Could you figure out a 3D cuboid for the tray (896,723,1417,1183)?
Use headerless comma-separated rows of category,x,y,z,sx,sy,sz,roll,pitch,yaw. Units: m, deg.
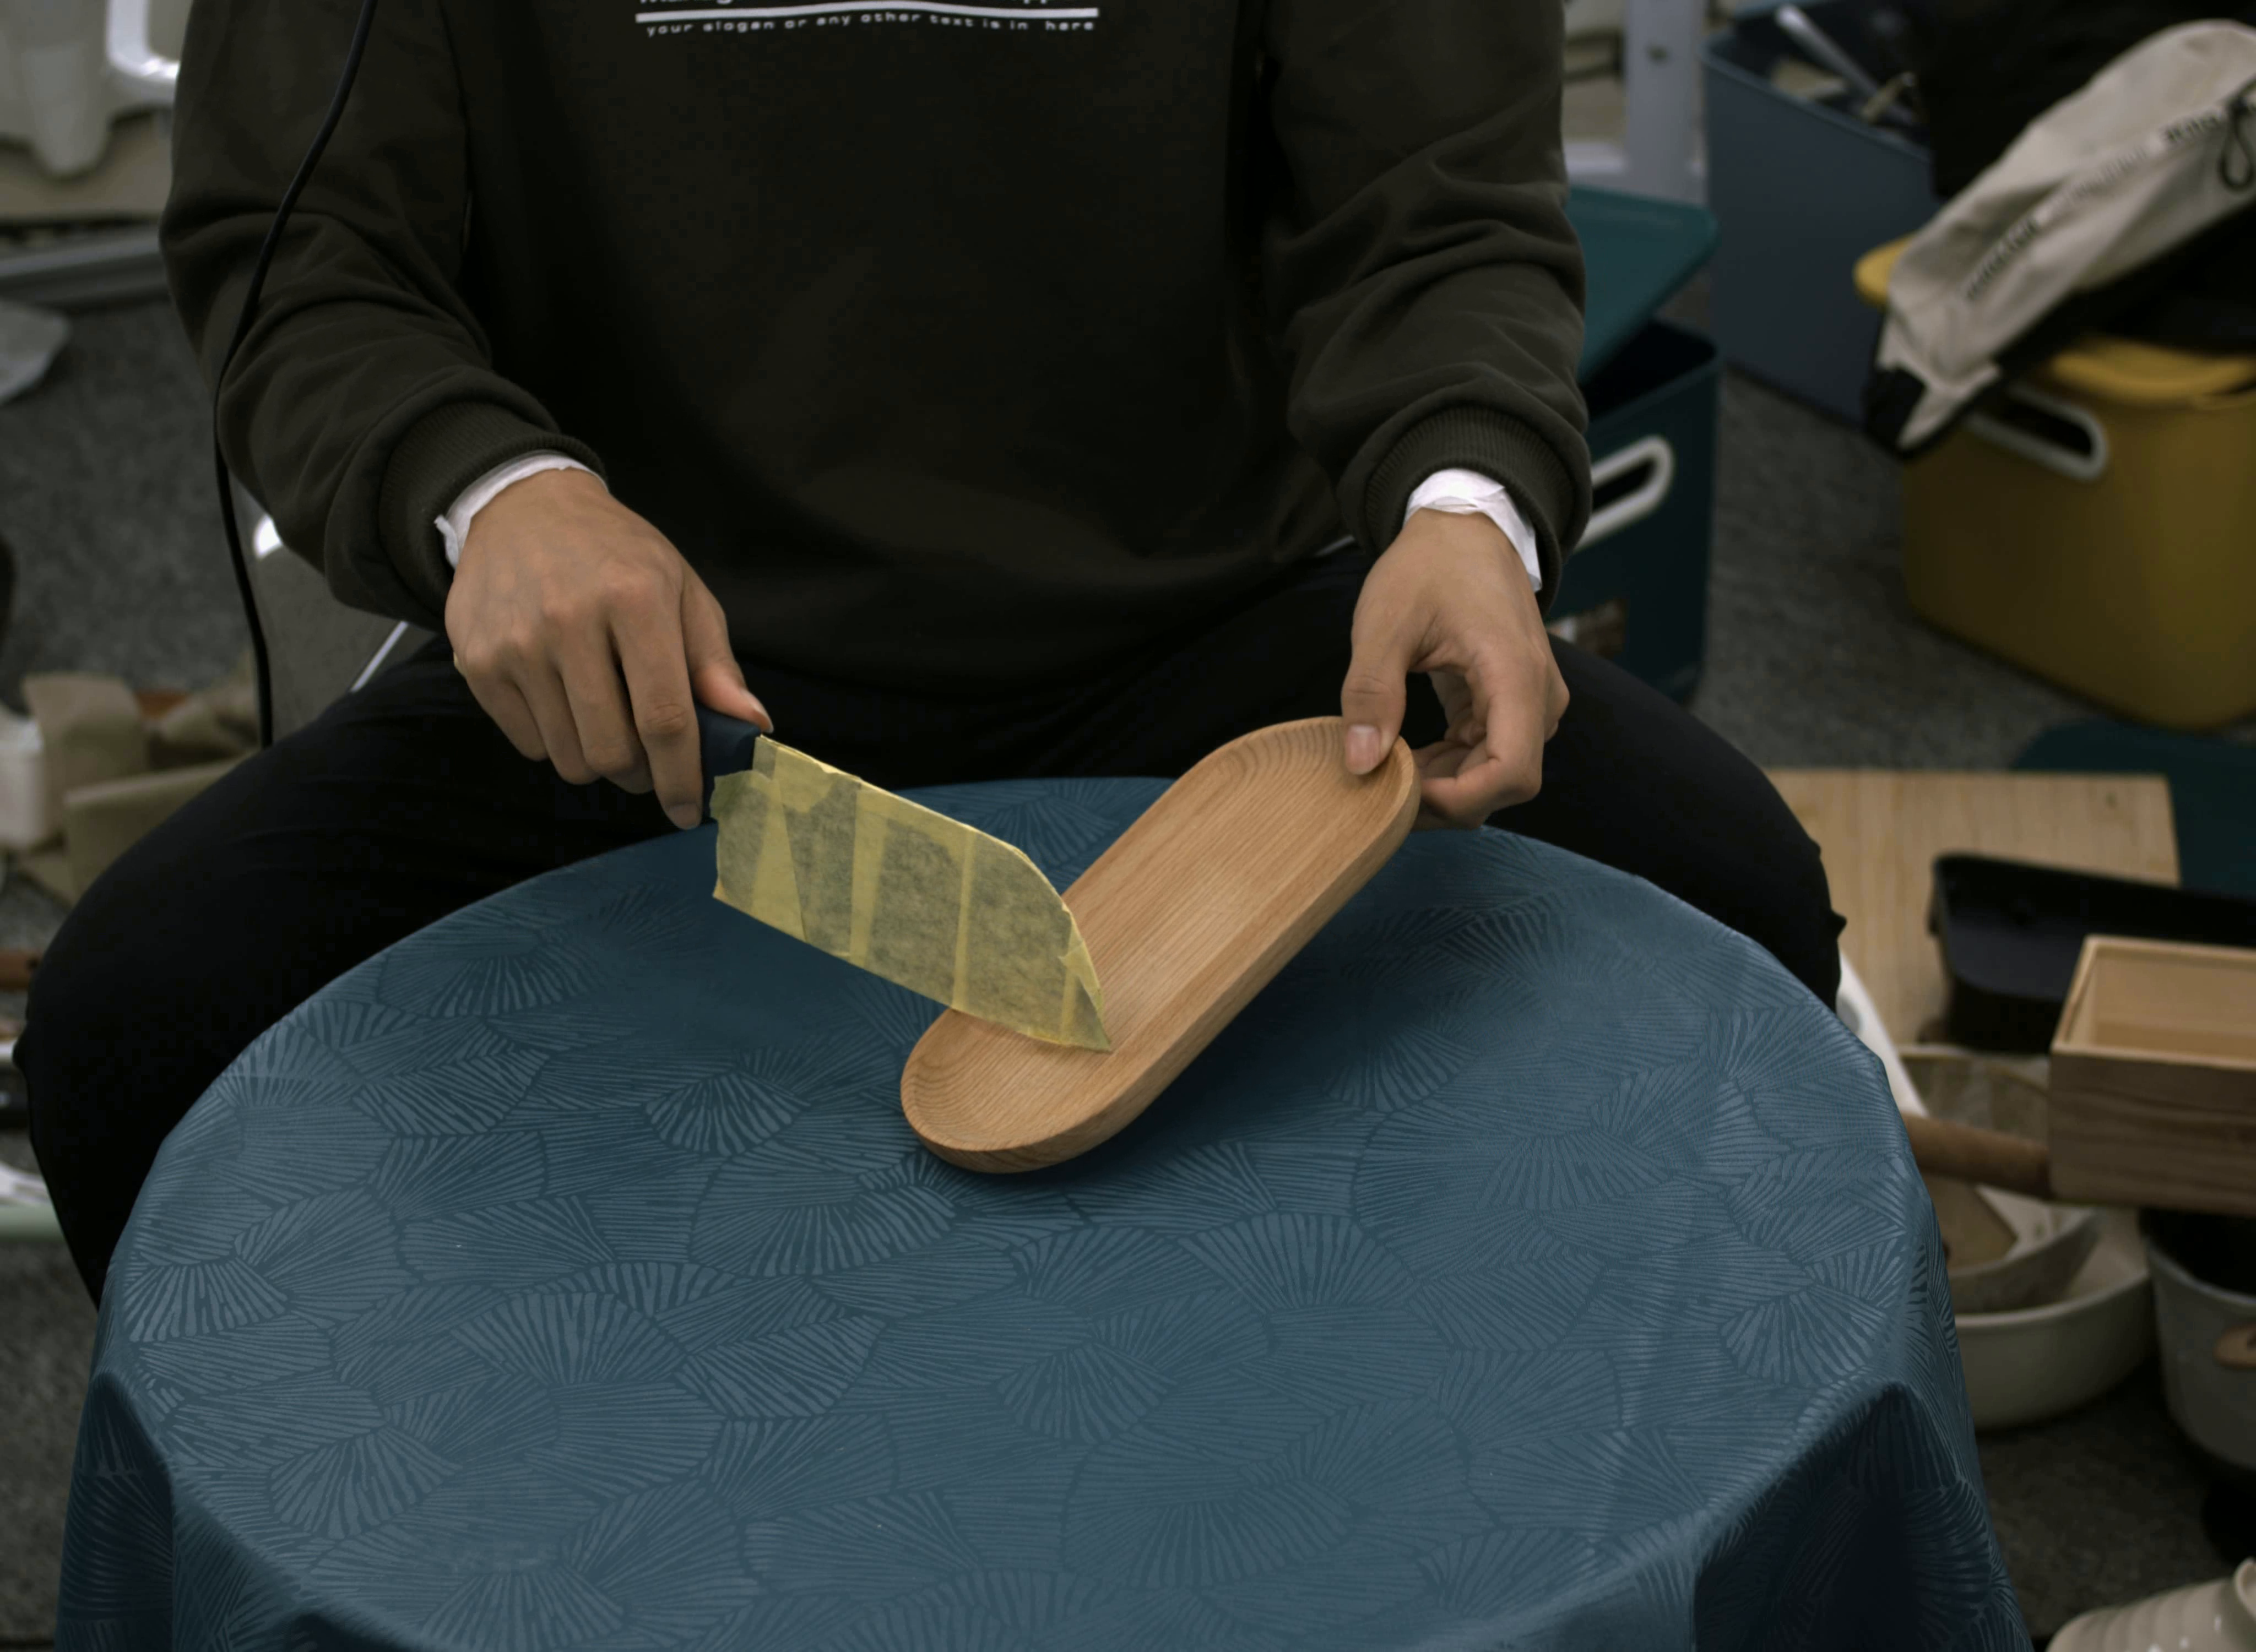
tray,0.012,0.042,1.925,0.101,0.020,0.234,12,48,45

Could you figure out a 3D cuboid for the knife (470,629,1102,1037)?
knife,-0.120,0.001,1.950,0.289,0.080,0.027,27,31,29
